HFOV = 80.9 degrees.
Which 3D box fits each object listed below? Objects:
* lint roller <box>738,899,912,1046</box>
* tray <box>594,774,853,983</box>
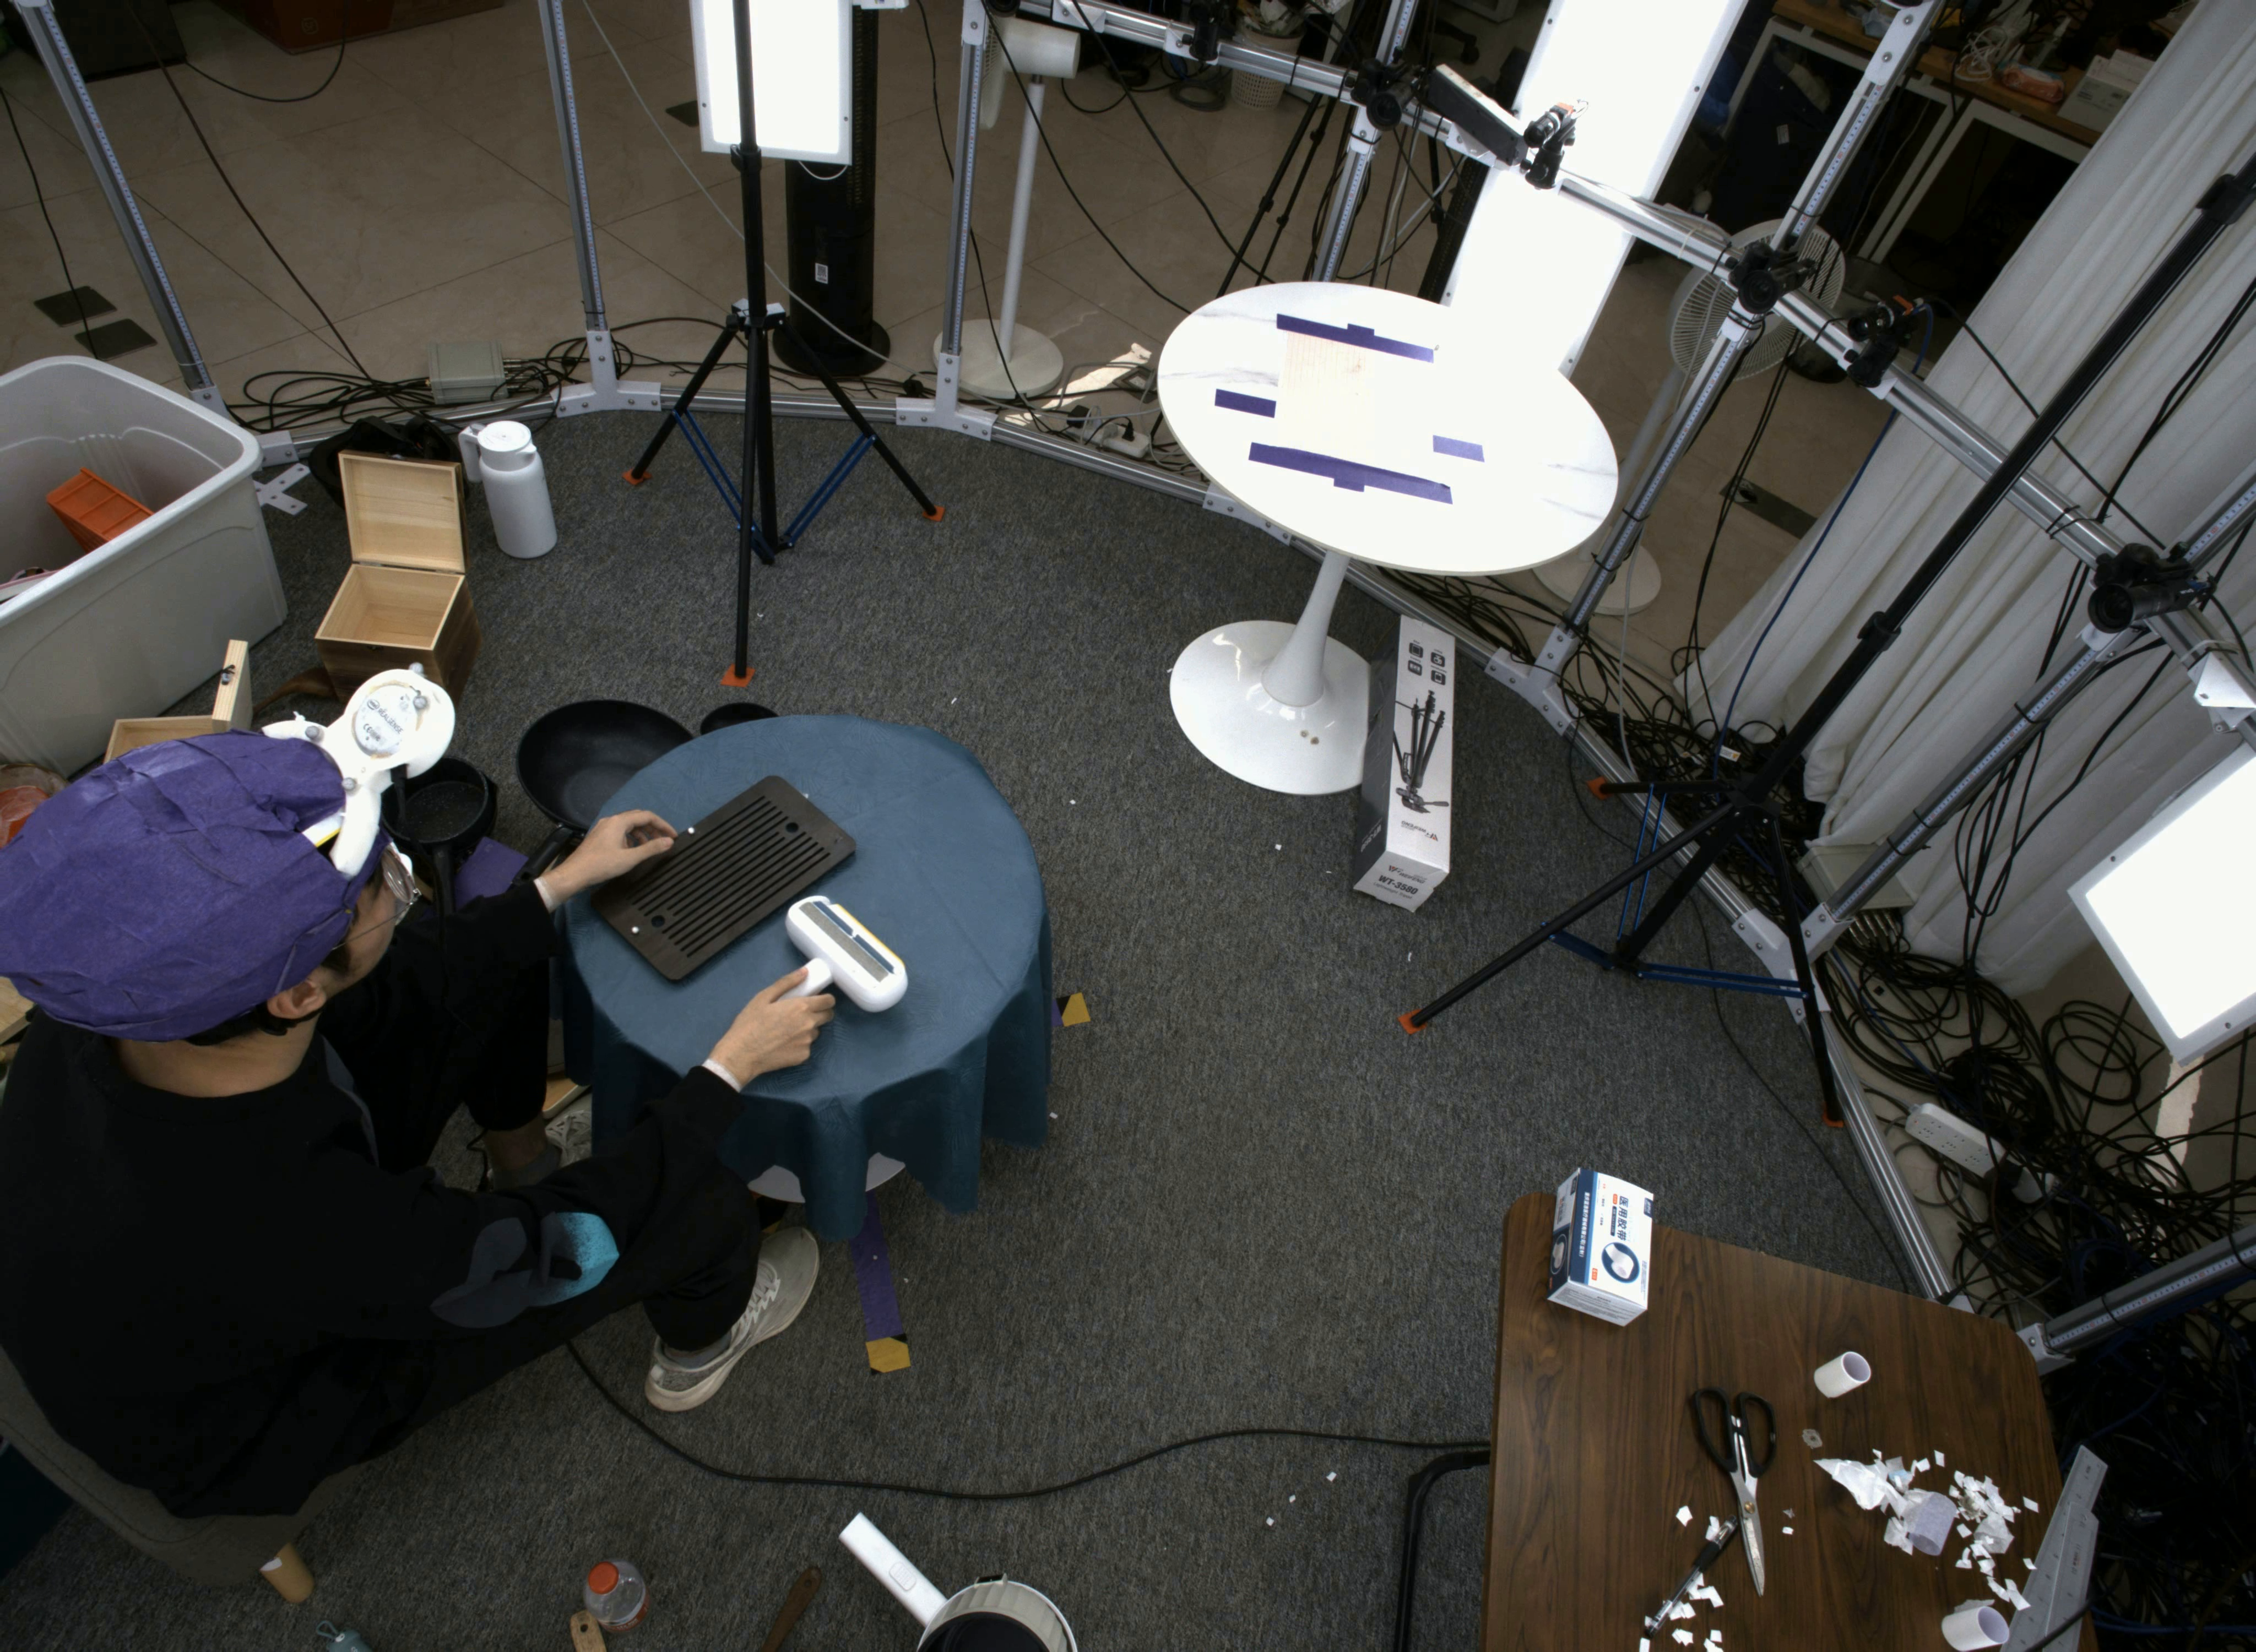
[{"bbox_3d":[-0.383,0.189,1.558,0.193,0.076,0.187,-32,60,-30],"label":"lint roller"},{"bbox_3d":[-0.514,0.060,1.650,0.167,0.019,0.306,39,54,14],"label":"tray"}]
